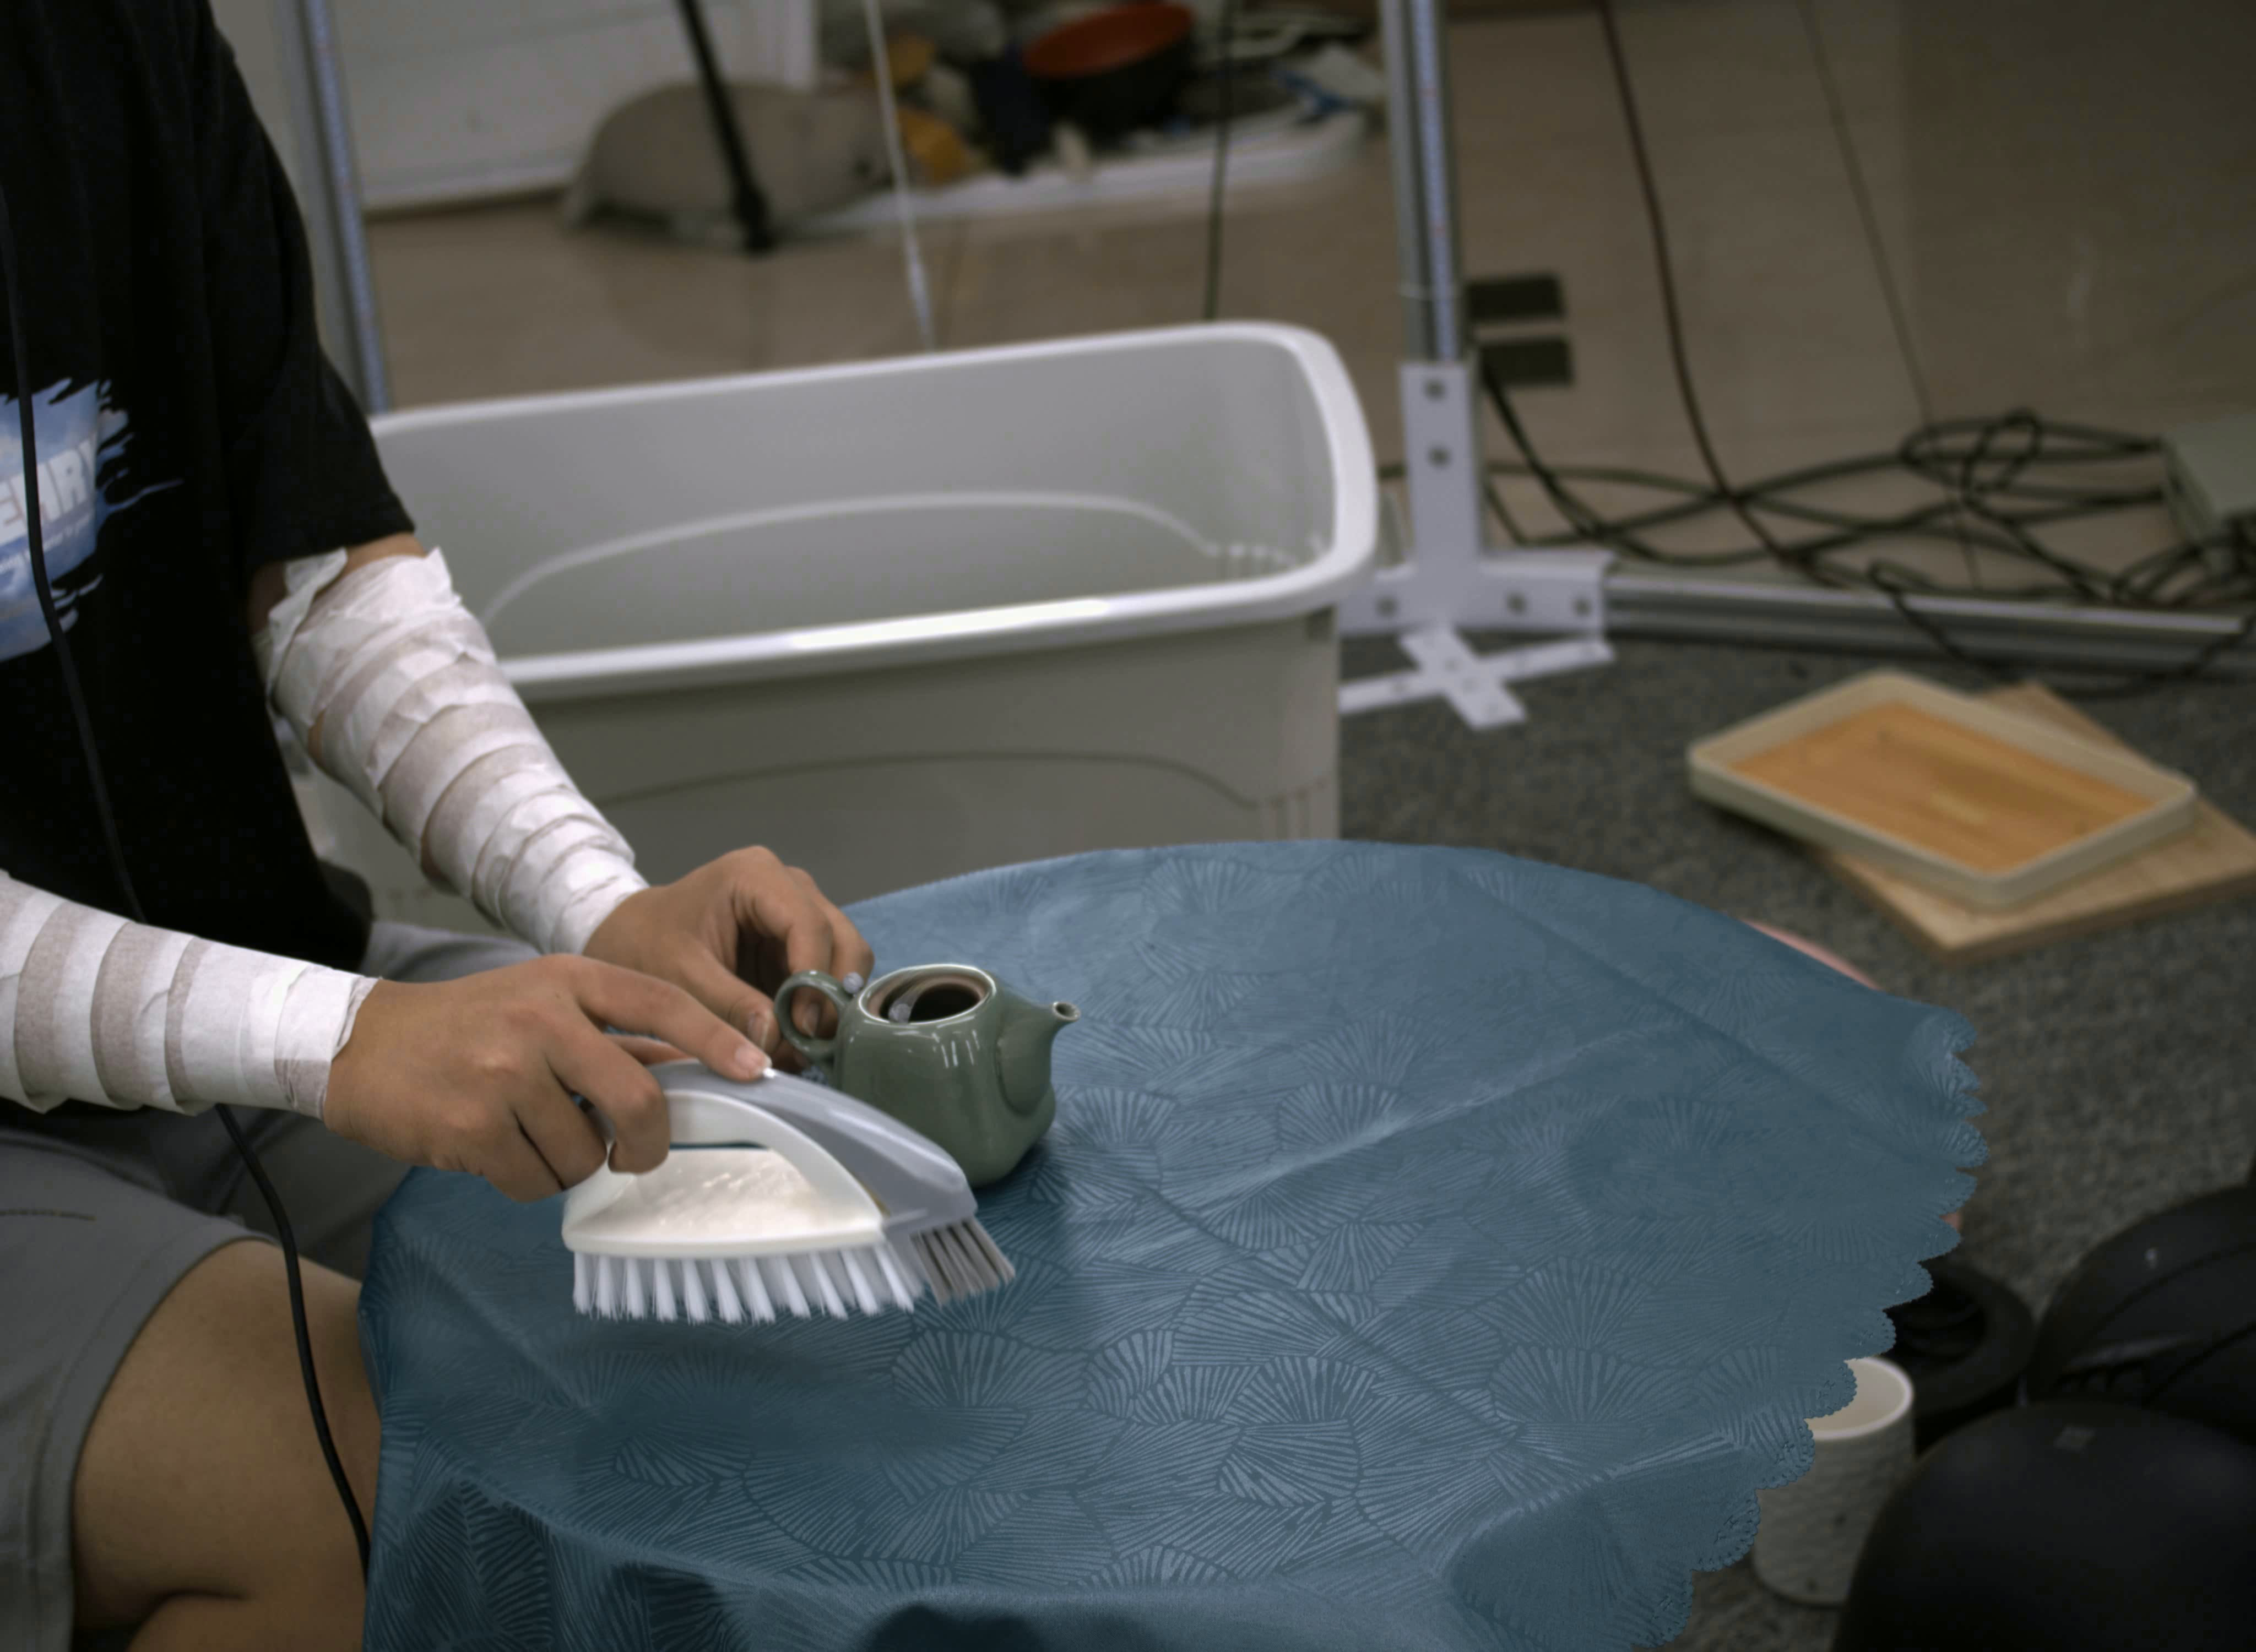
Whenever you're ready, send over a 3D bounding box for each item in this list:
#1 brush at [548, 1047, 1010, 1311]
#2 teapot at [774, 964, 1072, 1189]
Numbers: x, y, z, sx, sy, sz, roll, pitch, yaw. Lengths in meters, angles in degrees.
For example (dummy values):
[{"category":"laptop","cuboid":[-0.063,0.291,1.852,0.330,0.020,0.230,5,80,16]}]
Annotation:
[{"category":"brush","cuboid":[-0.129,0.120,2.019,0.175,0.096,0.060,1,35,29]},{"category":"teapot","cuboid":[-0.076,0.094,2.177,0.132,0.076,0.079,6,26,28]}]
